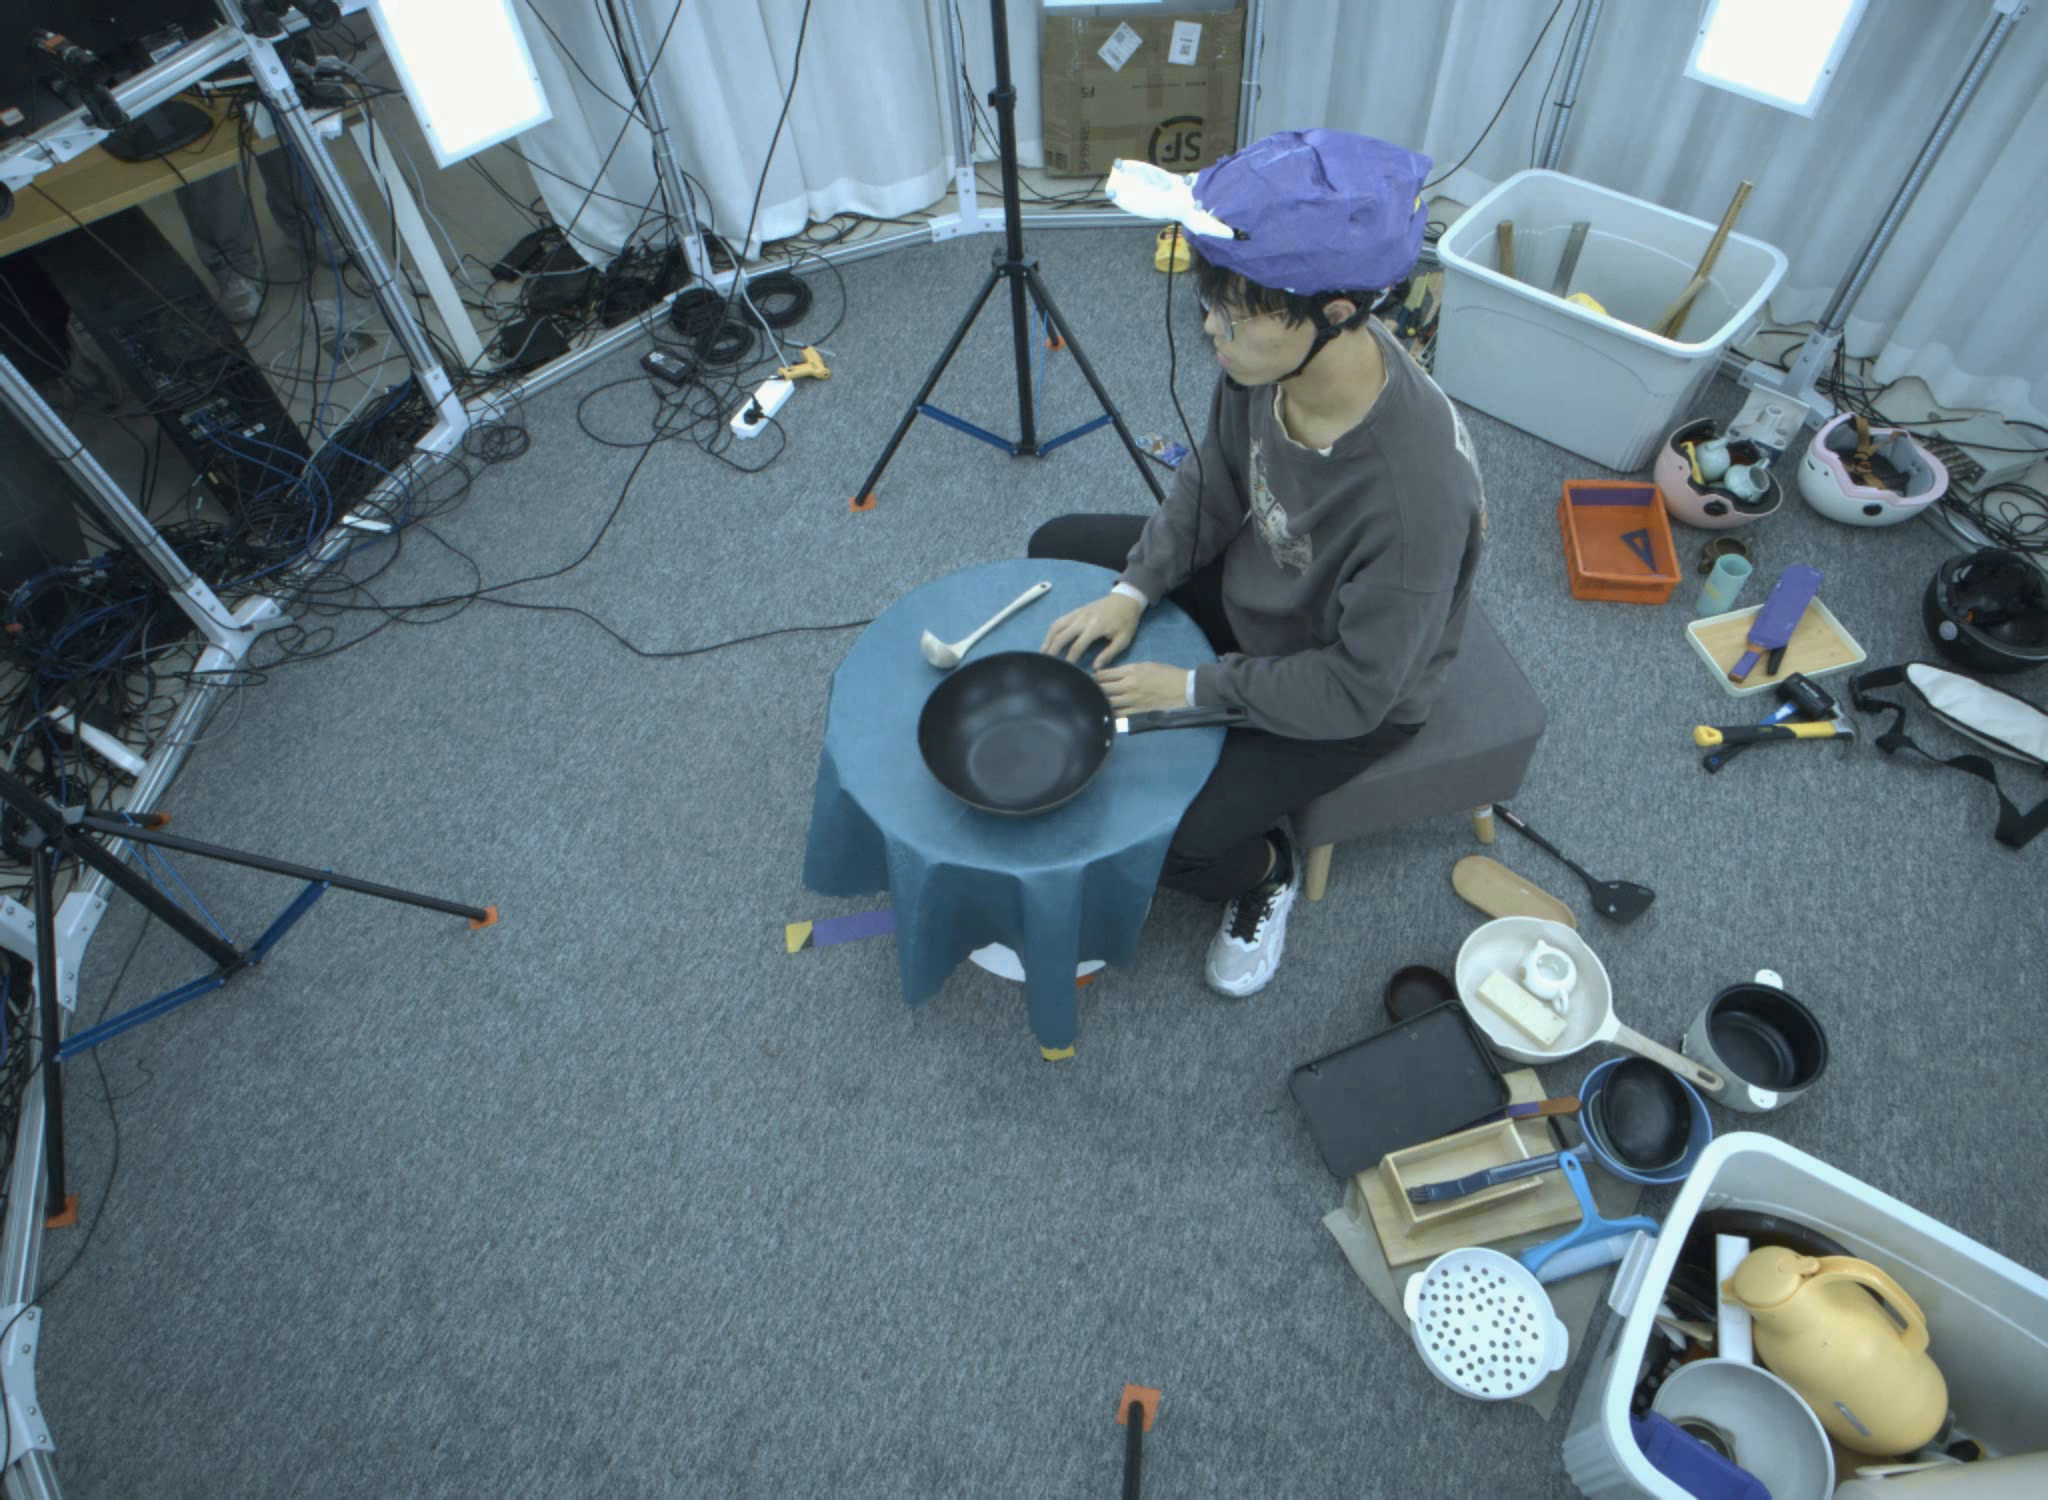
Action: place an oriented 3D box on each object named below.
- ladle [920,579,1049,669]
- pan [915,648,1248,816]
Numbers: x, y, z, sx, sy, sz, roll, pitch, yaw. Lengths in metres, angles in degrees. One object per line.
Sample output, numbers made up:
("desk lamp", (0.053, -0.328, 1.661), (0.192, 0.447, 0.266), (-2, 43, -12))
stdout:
("ladle", (-0.055, -0.218, 1.898), (0.070, 0.074, 0.256), (34, 63, 31))
("pan", (0.081, -0.017, 1.743), (0.464, 0.088, 0.285), (-3, 54, -1))
